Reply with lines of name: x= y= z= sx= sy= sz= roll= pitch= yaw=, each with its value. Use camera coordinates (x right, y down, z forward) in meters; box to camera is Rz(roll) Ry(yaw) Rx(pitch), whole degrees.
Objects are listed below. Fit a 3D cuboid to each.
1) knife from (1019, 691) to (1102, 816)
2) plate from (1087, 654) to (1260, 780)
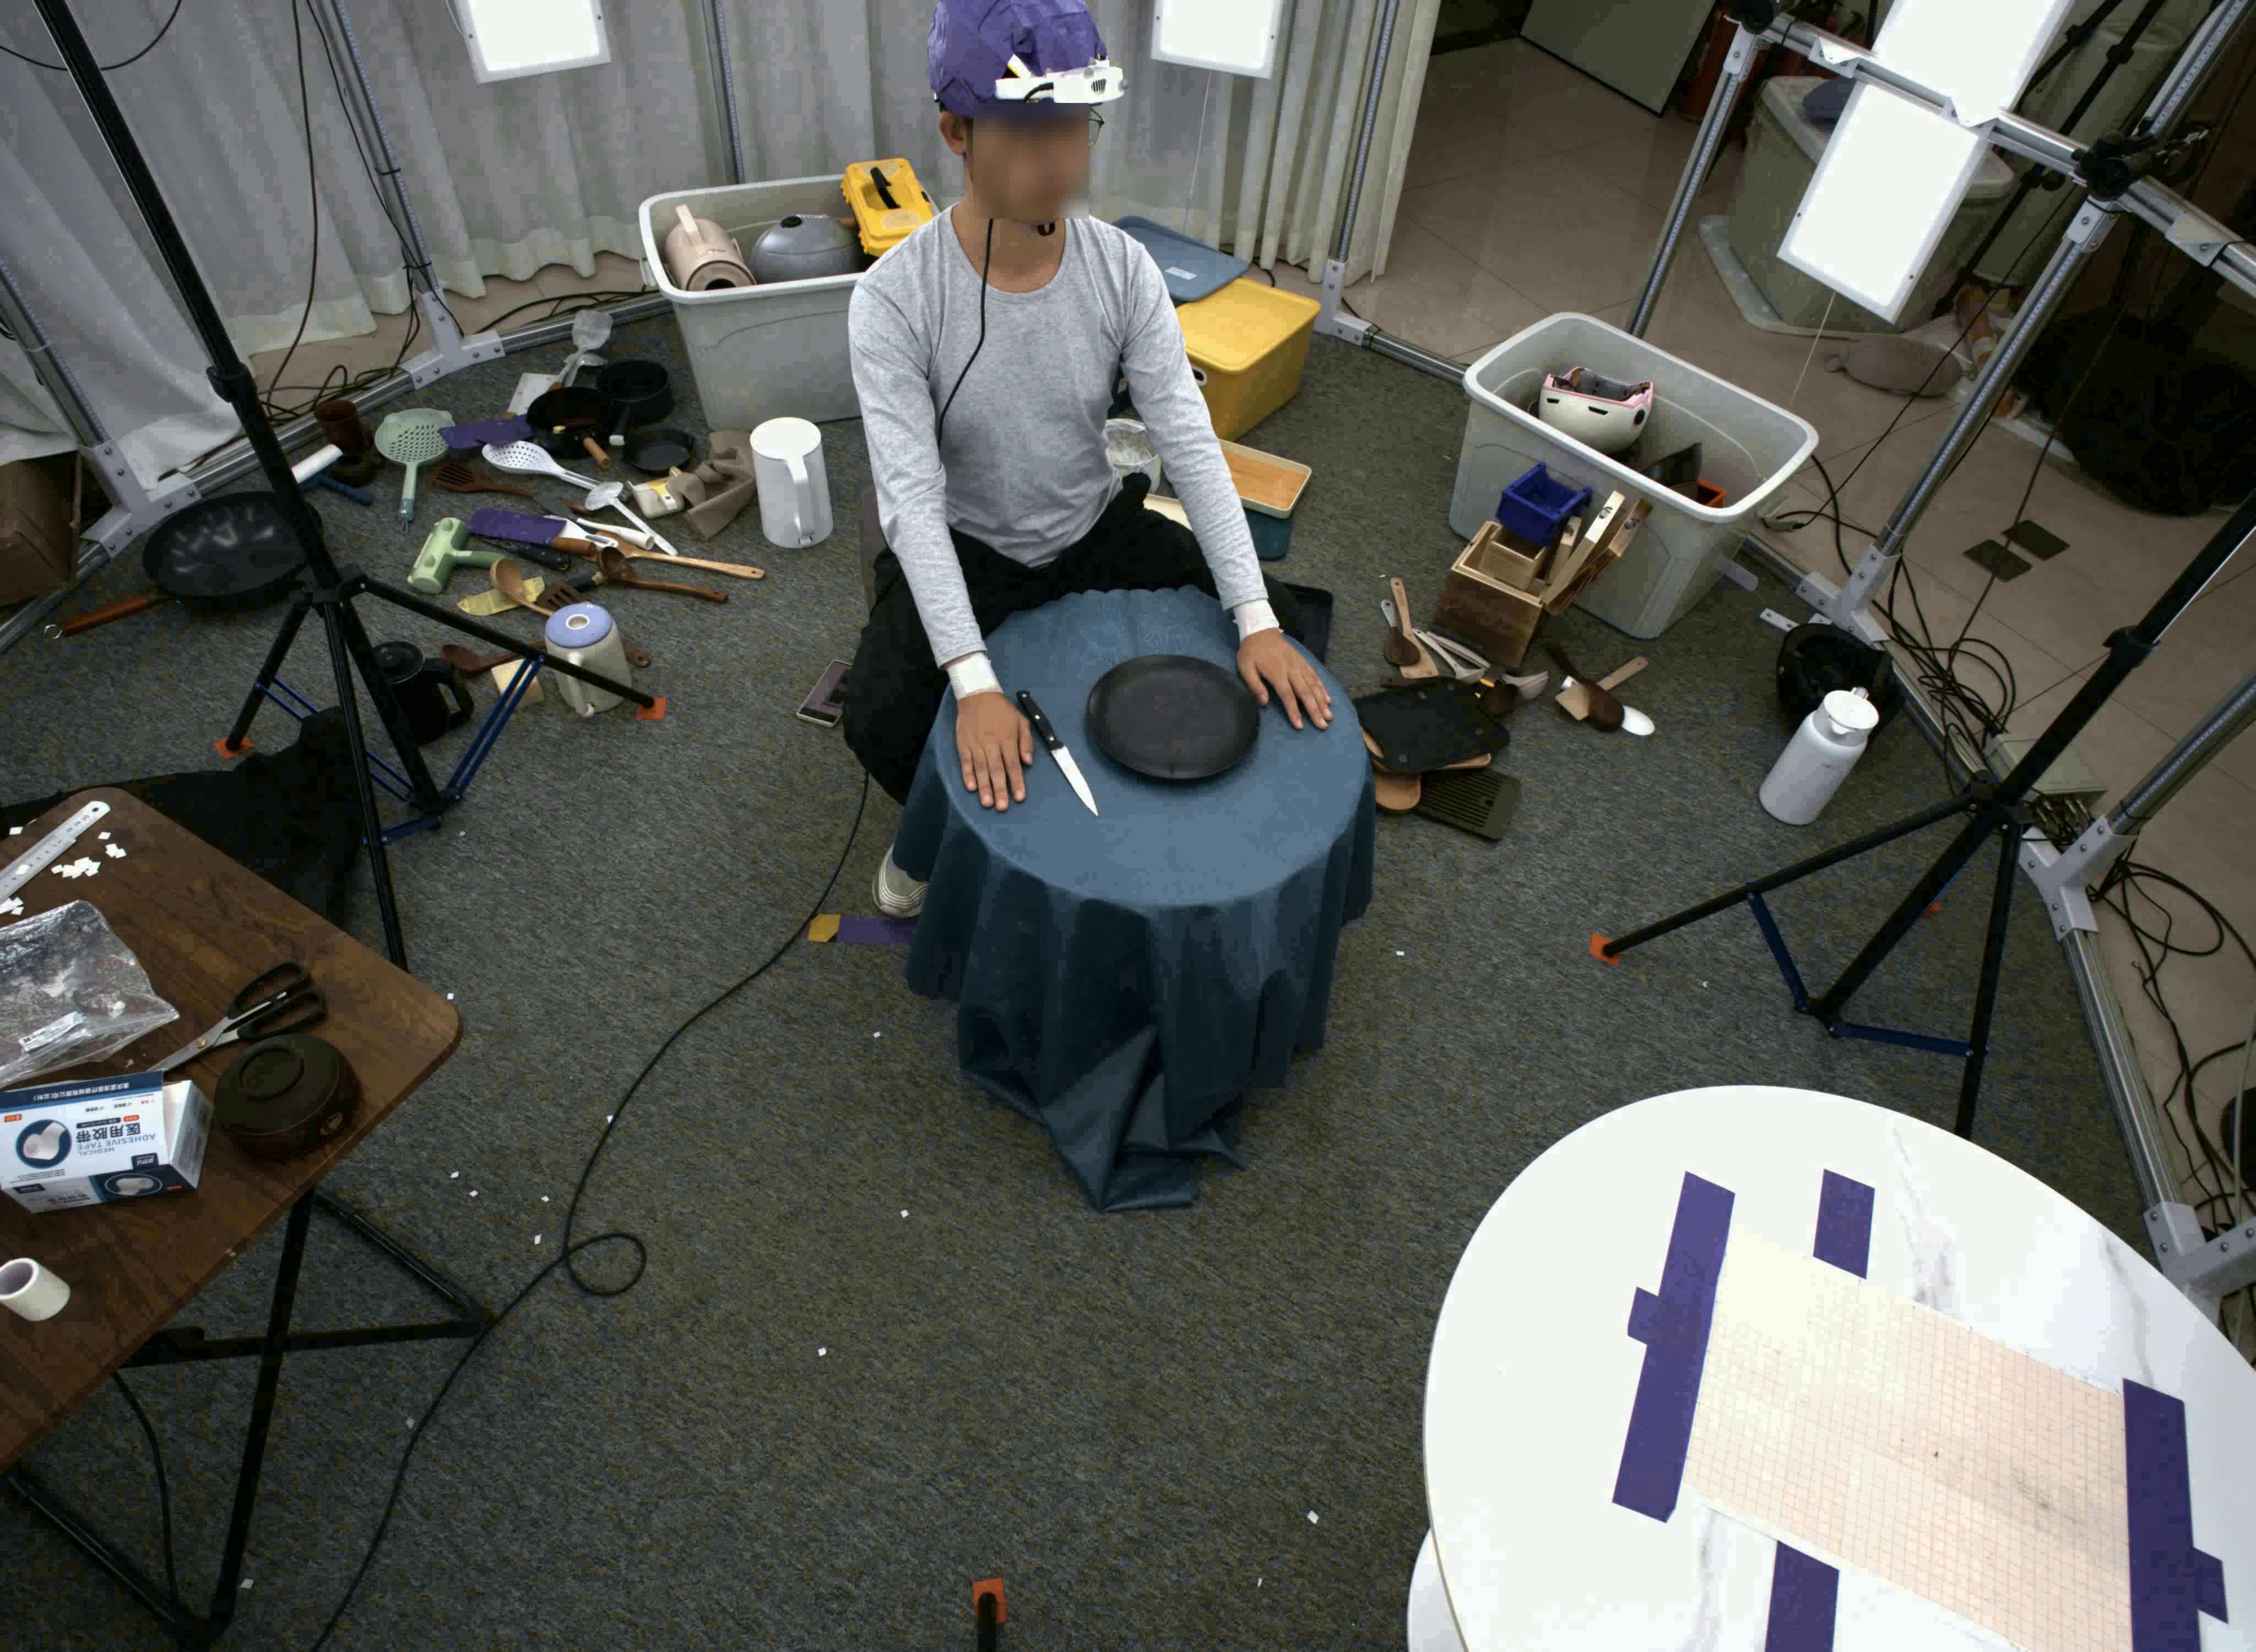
knife: x=-0.093 y=-0.099 z=1.740 sx=0.024 sy=0.016 sz=0.243 roll=-20 pitch=56 yaw=-19
plate: x=0.063 y=-0.150 z=1.787 sx=0.244 sy=0.023 sz=0.250 roll=2 pitch=49 yaw=-2
